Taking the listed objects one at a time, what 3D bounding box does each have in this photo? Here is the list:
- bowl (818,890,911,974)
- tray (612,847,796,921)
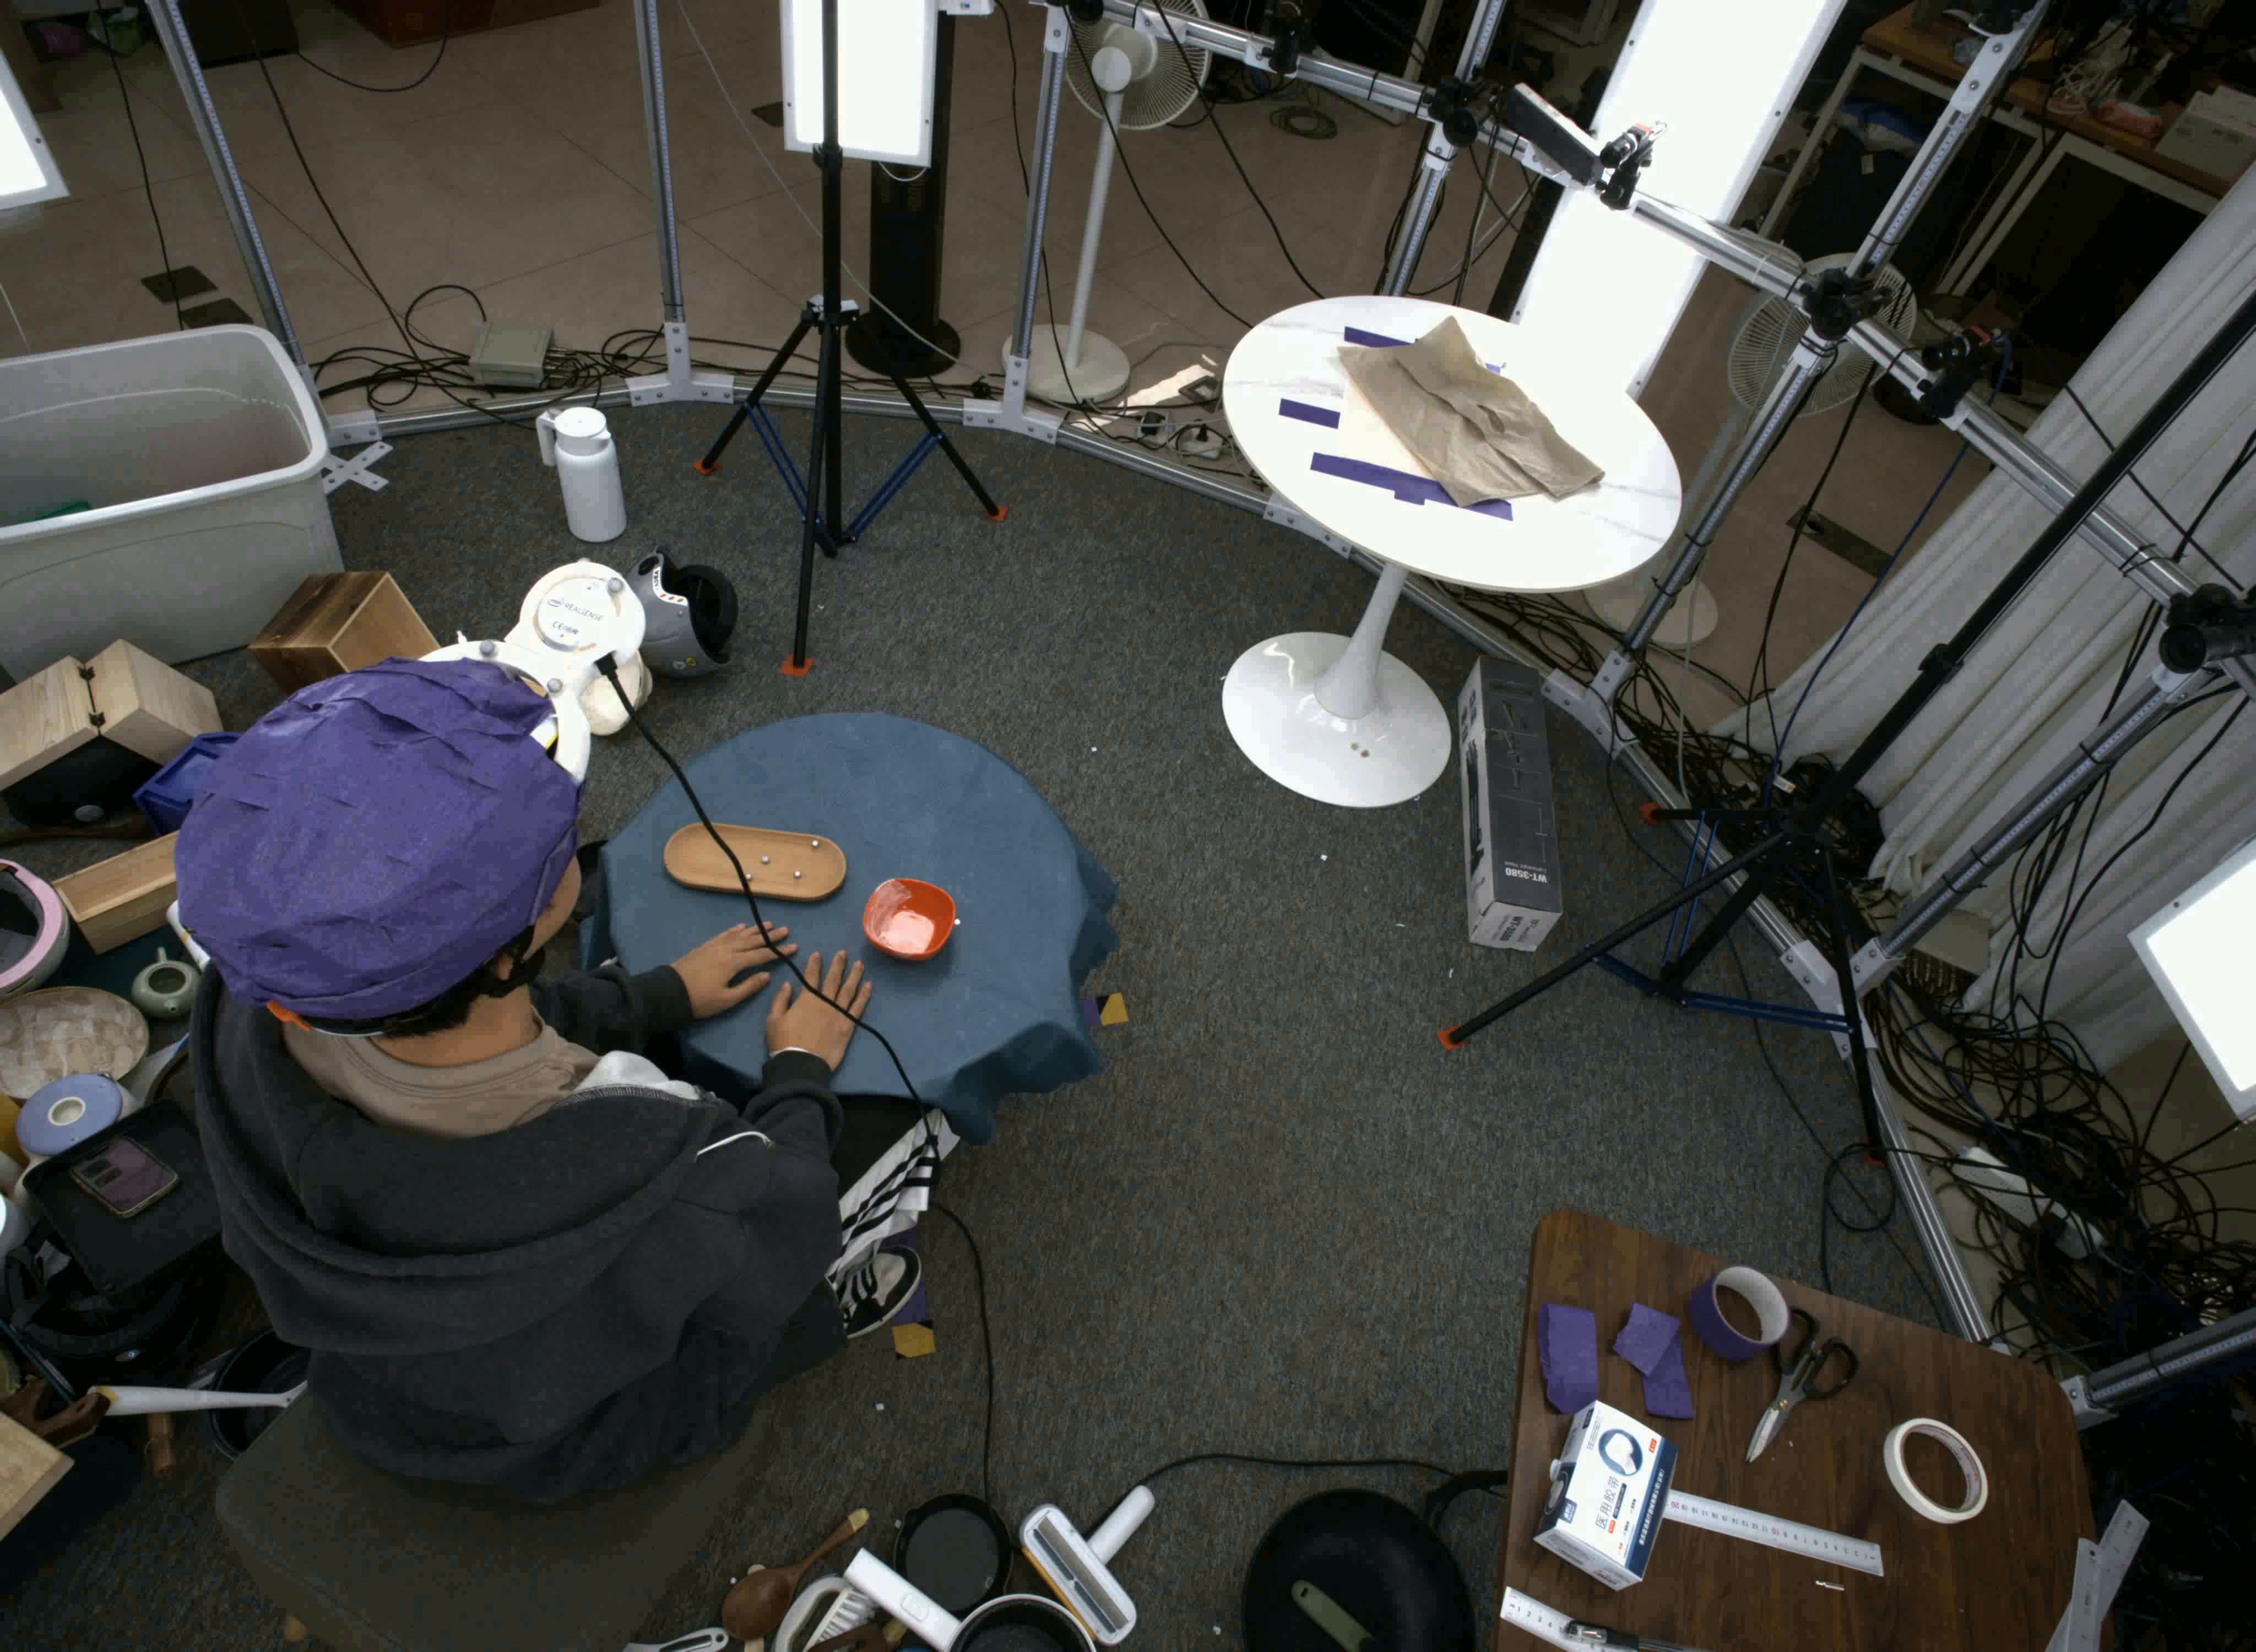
[{"bbox_3d":[-0.327,0.139,1.615,0.119,0.052,0.117,9,50,-9],"label":"bowl"},{"bbox_3d":[-0.538,0.072,1.635,0.231,0.021,0.099,3,53,-11],"label":"tray"}]
